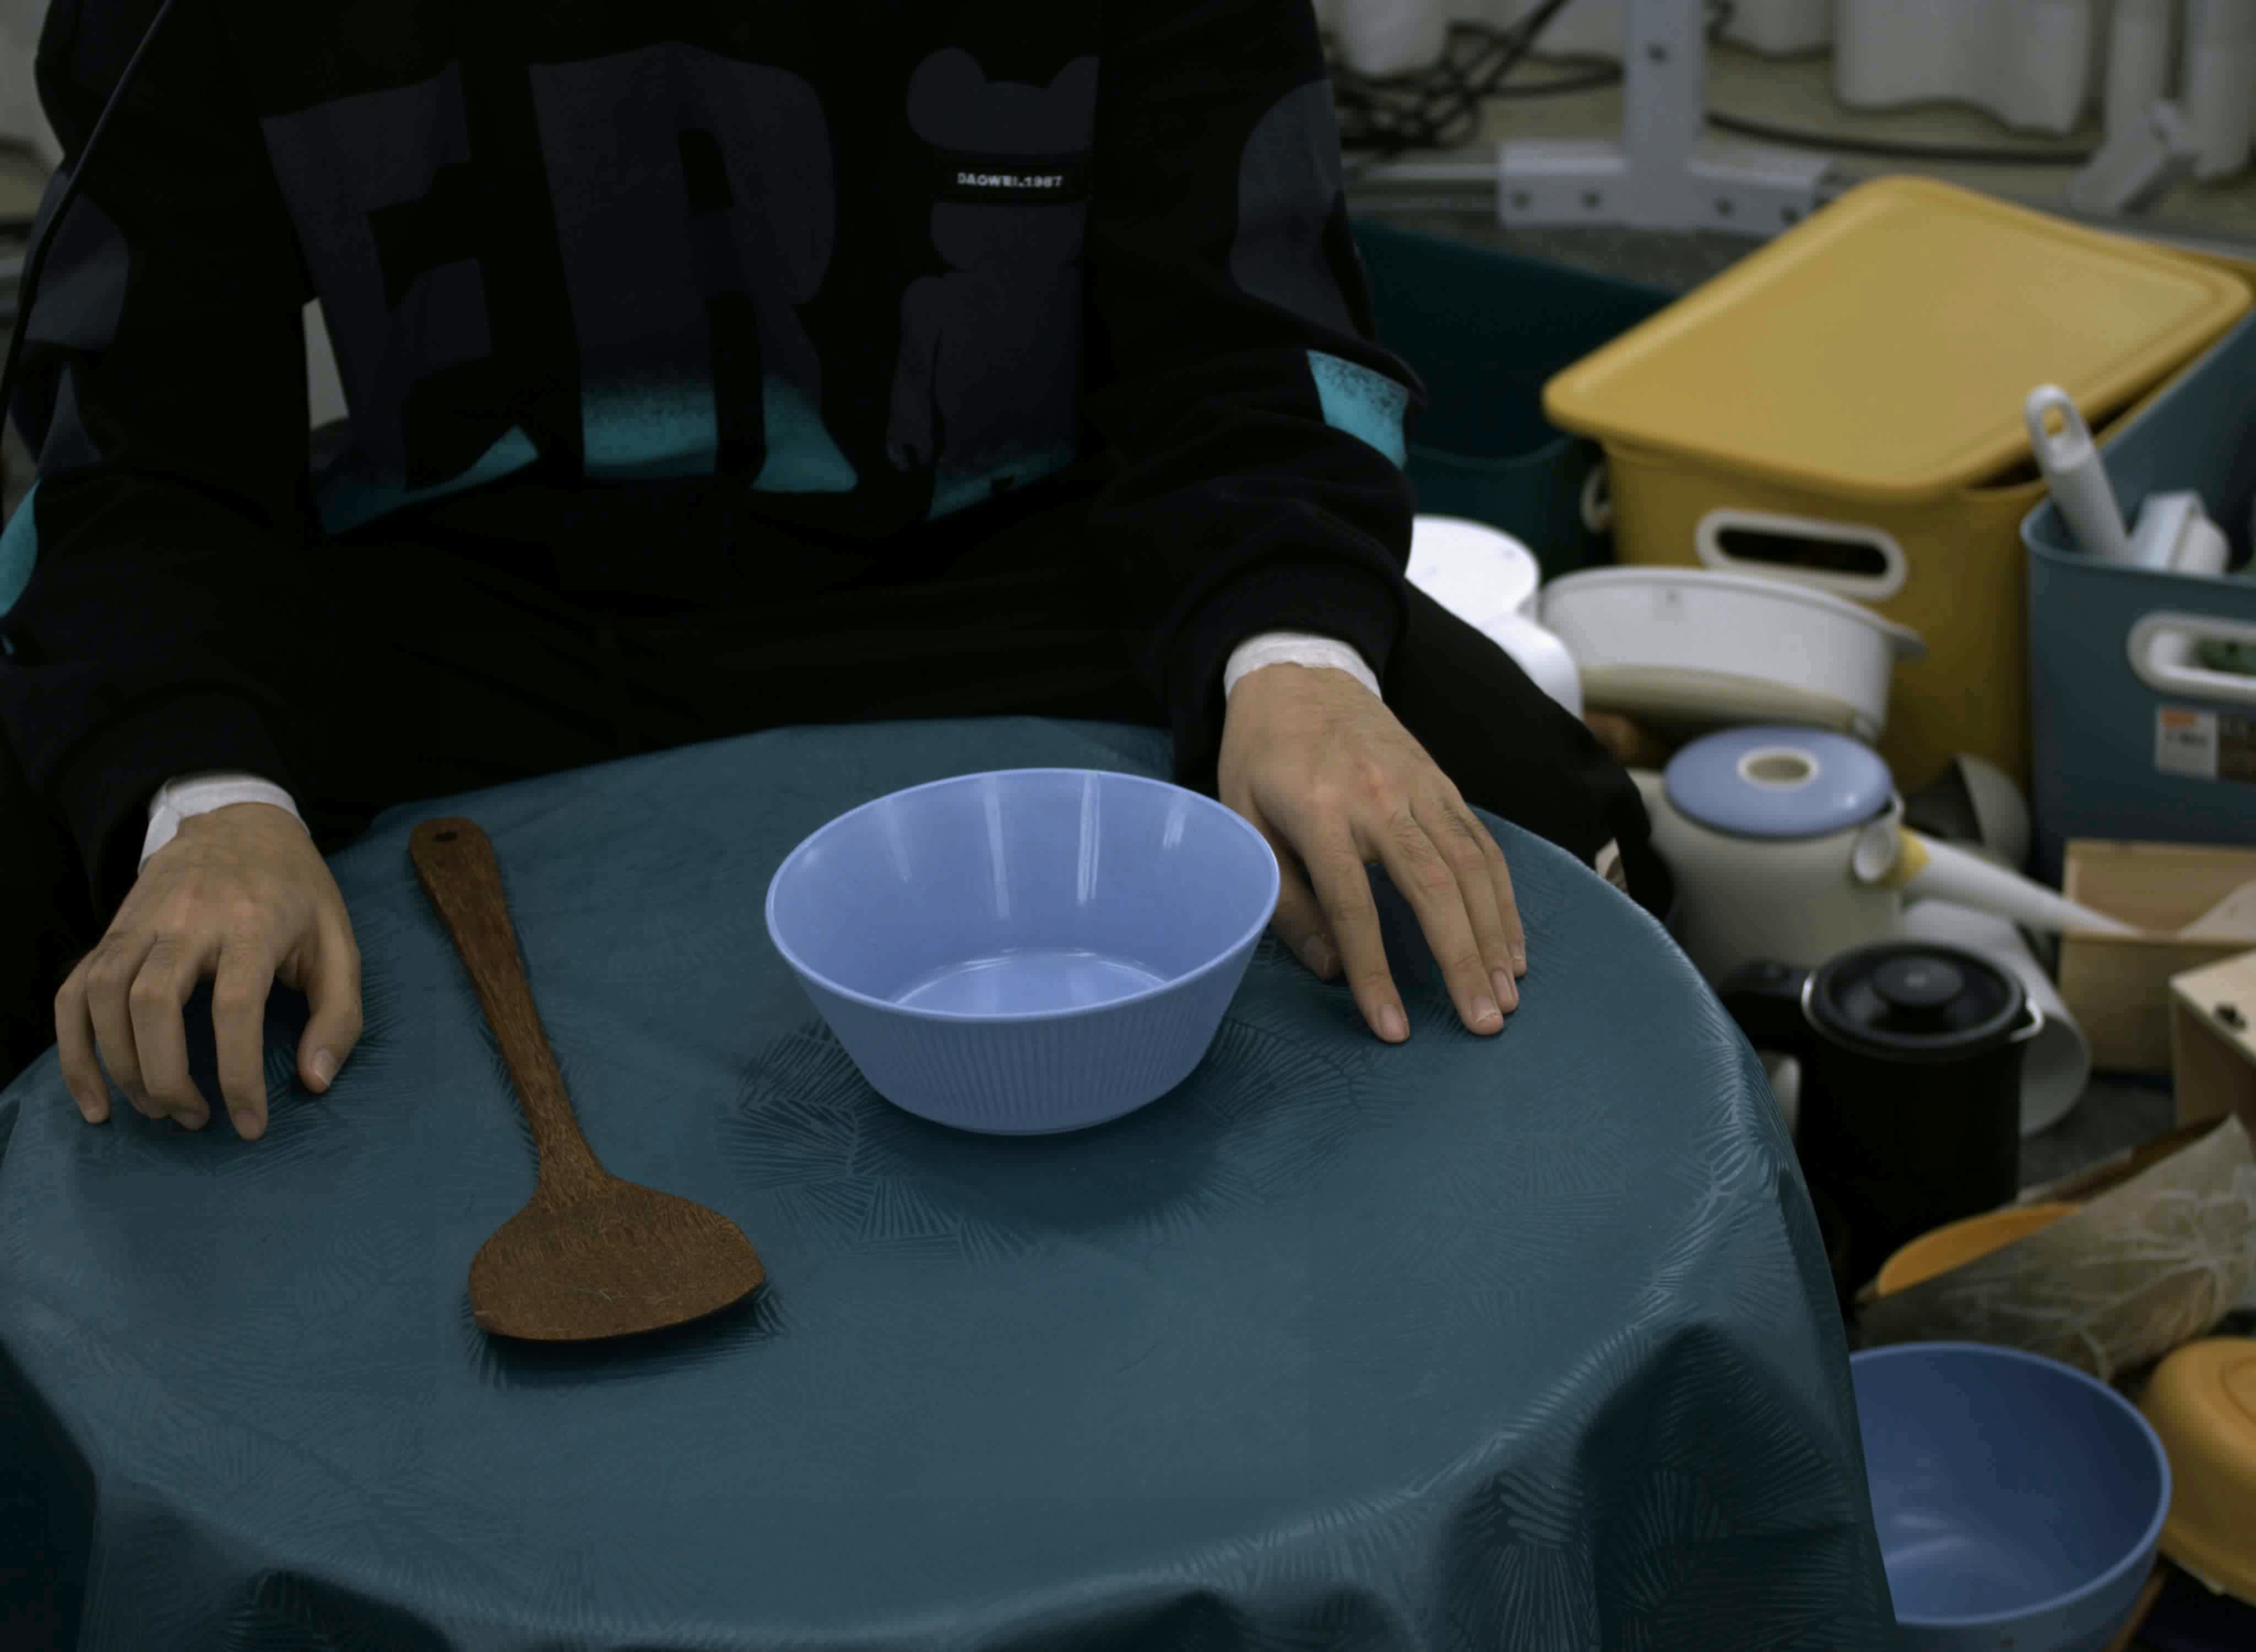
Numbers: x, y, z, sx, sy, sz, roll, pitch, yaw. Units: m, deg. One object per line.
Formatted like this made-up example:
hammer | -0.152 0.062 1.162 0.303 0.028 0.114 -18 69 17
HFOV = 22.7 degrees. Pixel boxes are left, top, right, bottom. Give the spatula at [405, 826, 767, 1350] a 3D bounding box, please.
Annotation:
spatula | -0.208 0.082 1.944 0.096 0.015 0.390 -9 28 -13

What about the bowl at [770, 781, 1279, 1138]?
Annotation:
bowl | -0.034 0.051 1.927 0.175 0.069 0.178 -2 26 1
